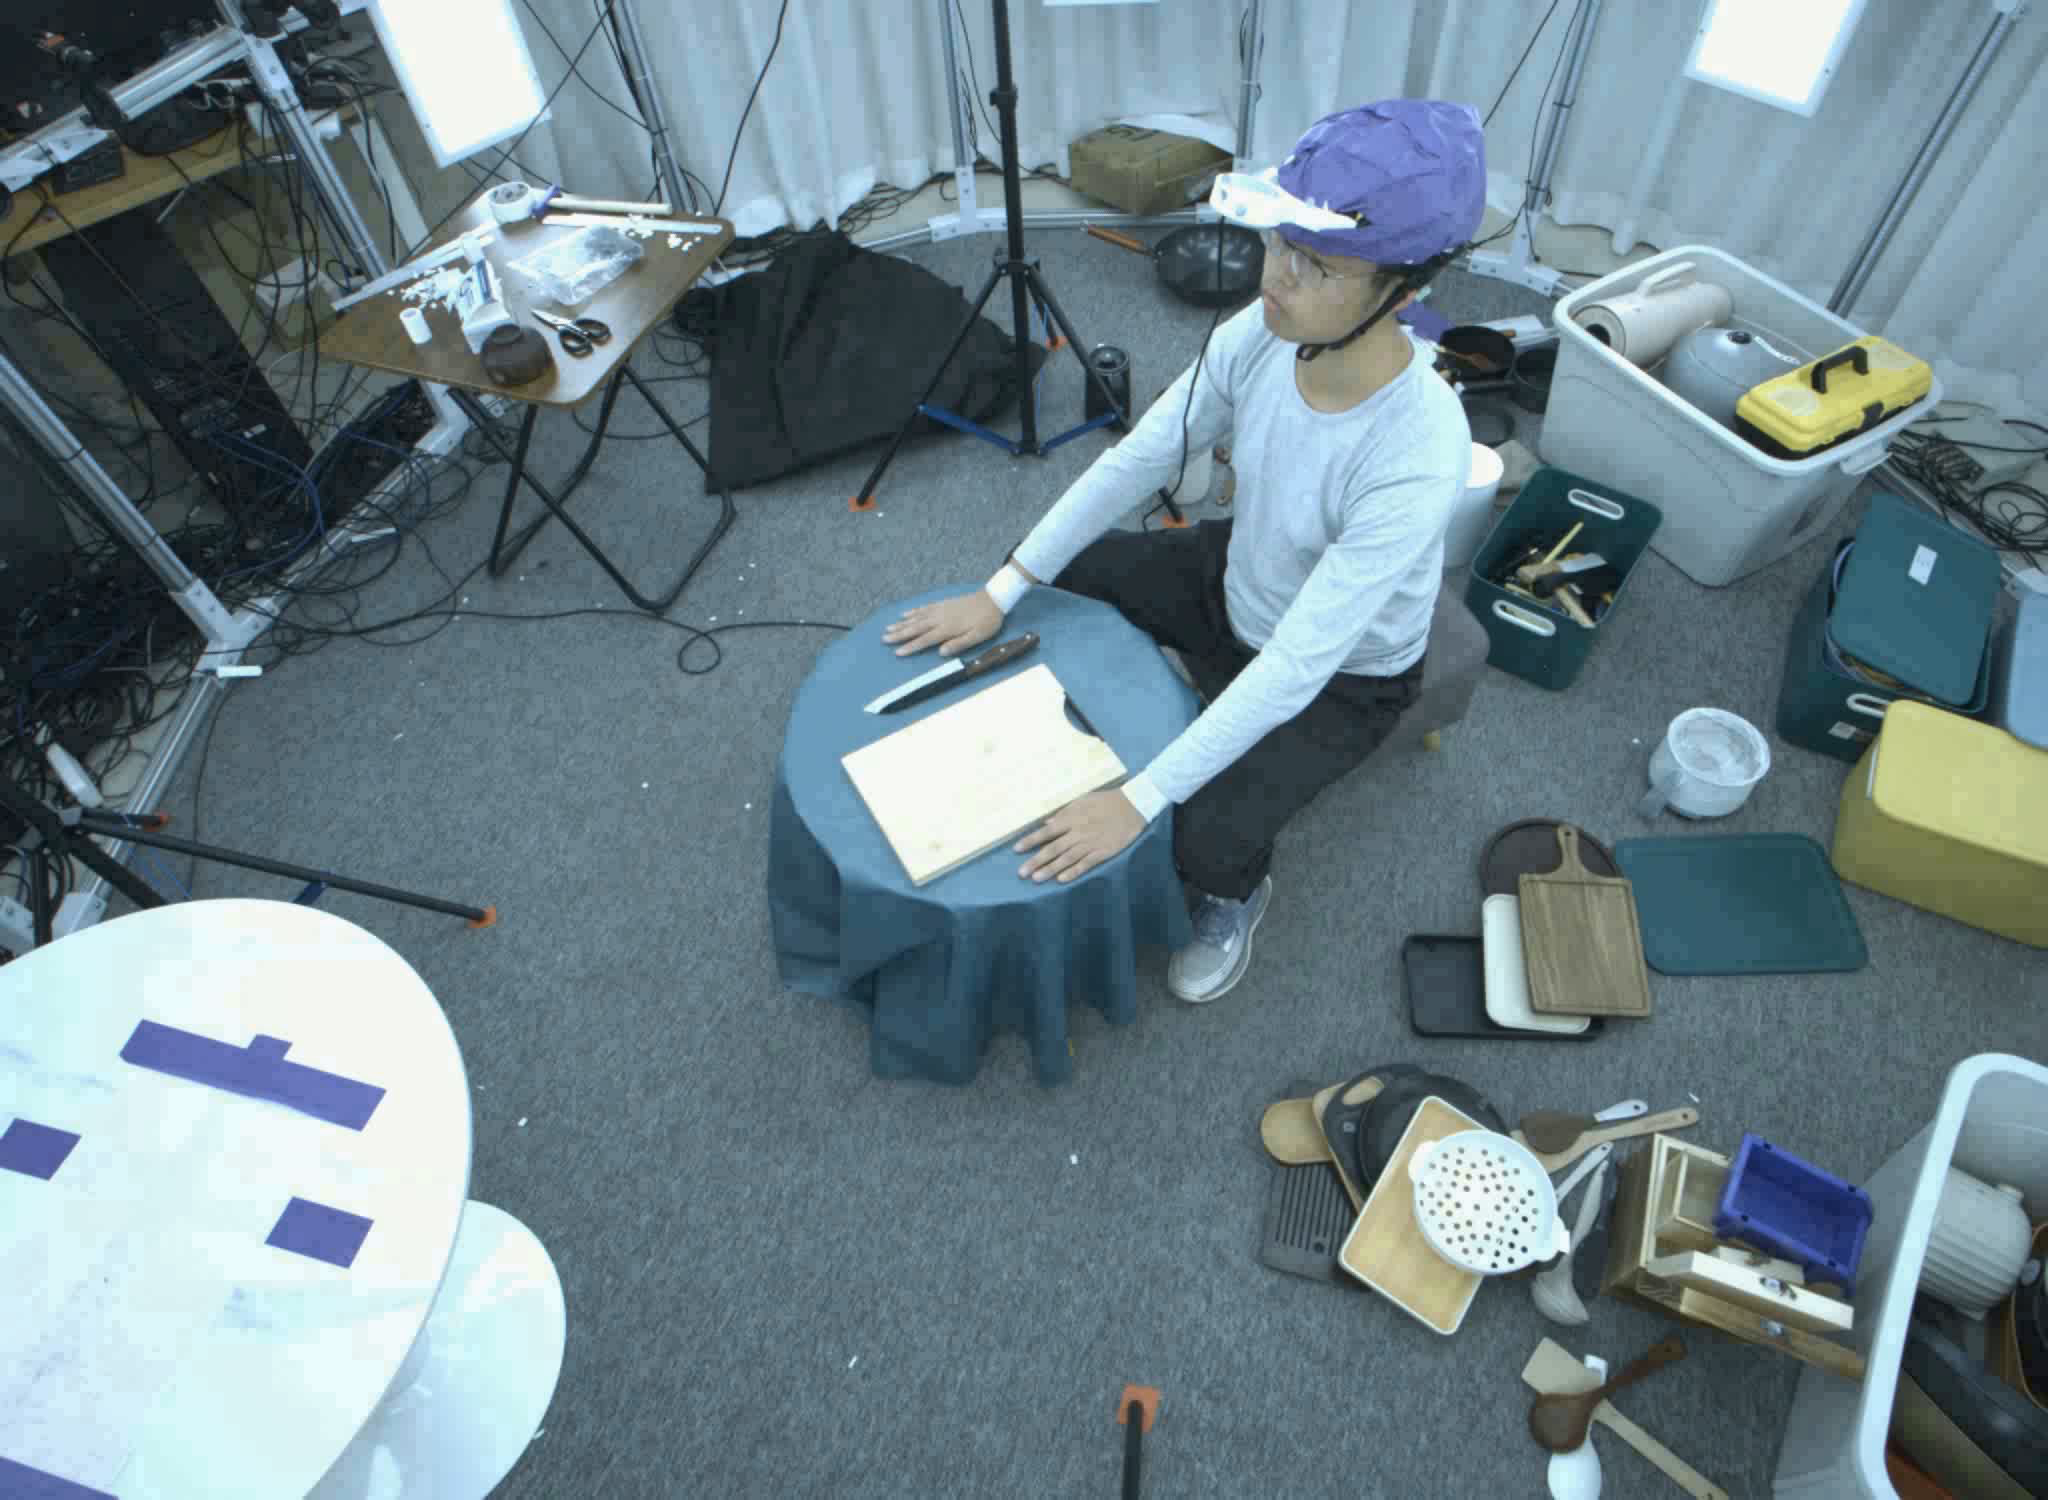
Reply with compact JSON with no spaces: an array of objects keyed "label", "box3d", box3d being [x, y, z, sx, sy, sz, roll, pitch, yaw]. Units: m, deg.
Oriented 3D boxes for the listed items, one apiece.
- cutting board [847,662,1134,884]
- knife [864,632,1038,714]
[{"label":"cutting board","box3d":[-0.053,0.024,1.769,0.351,0.024,0.246,-27,58,-17]},{"label":"knife","box3d":[-0.110,-0.116,1.872,0.291,0.020,0.049,-24,52,-12]}]
